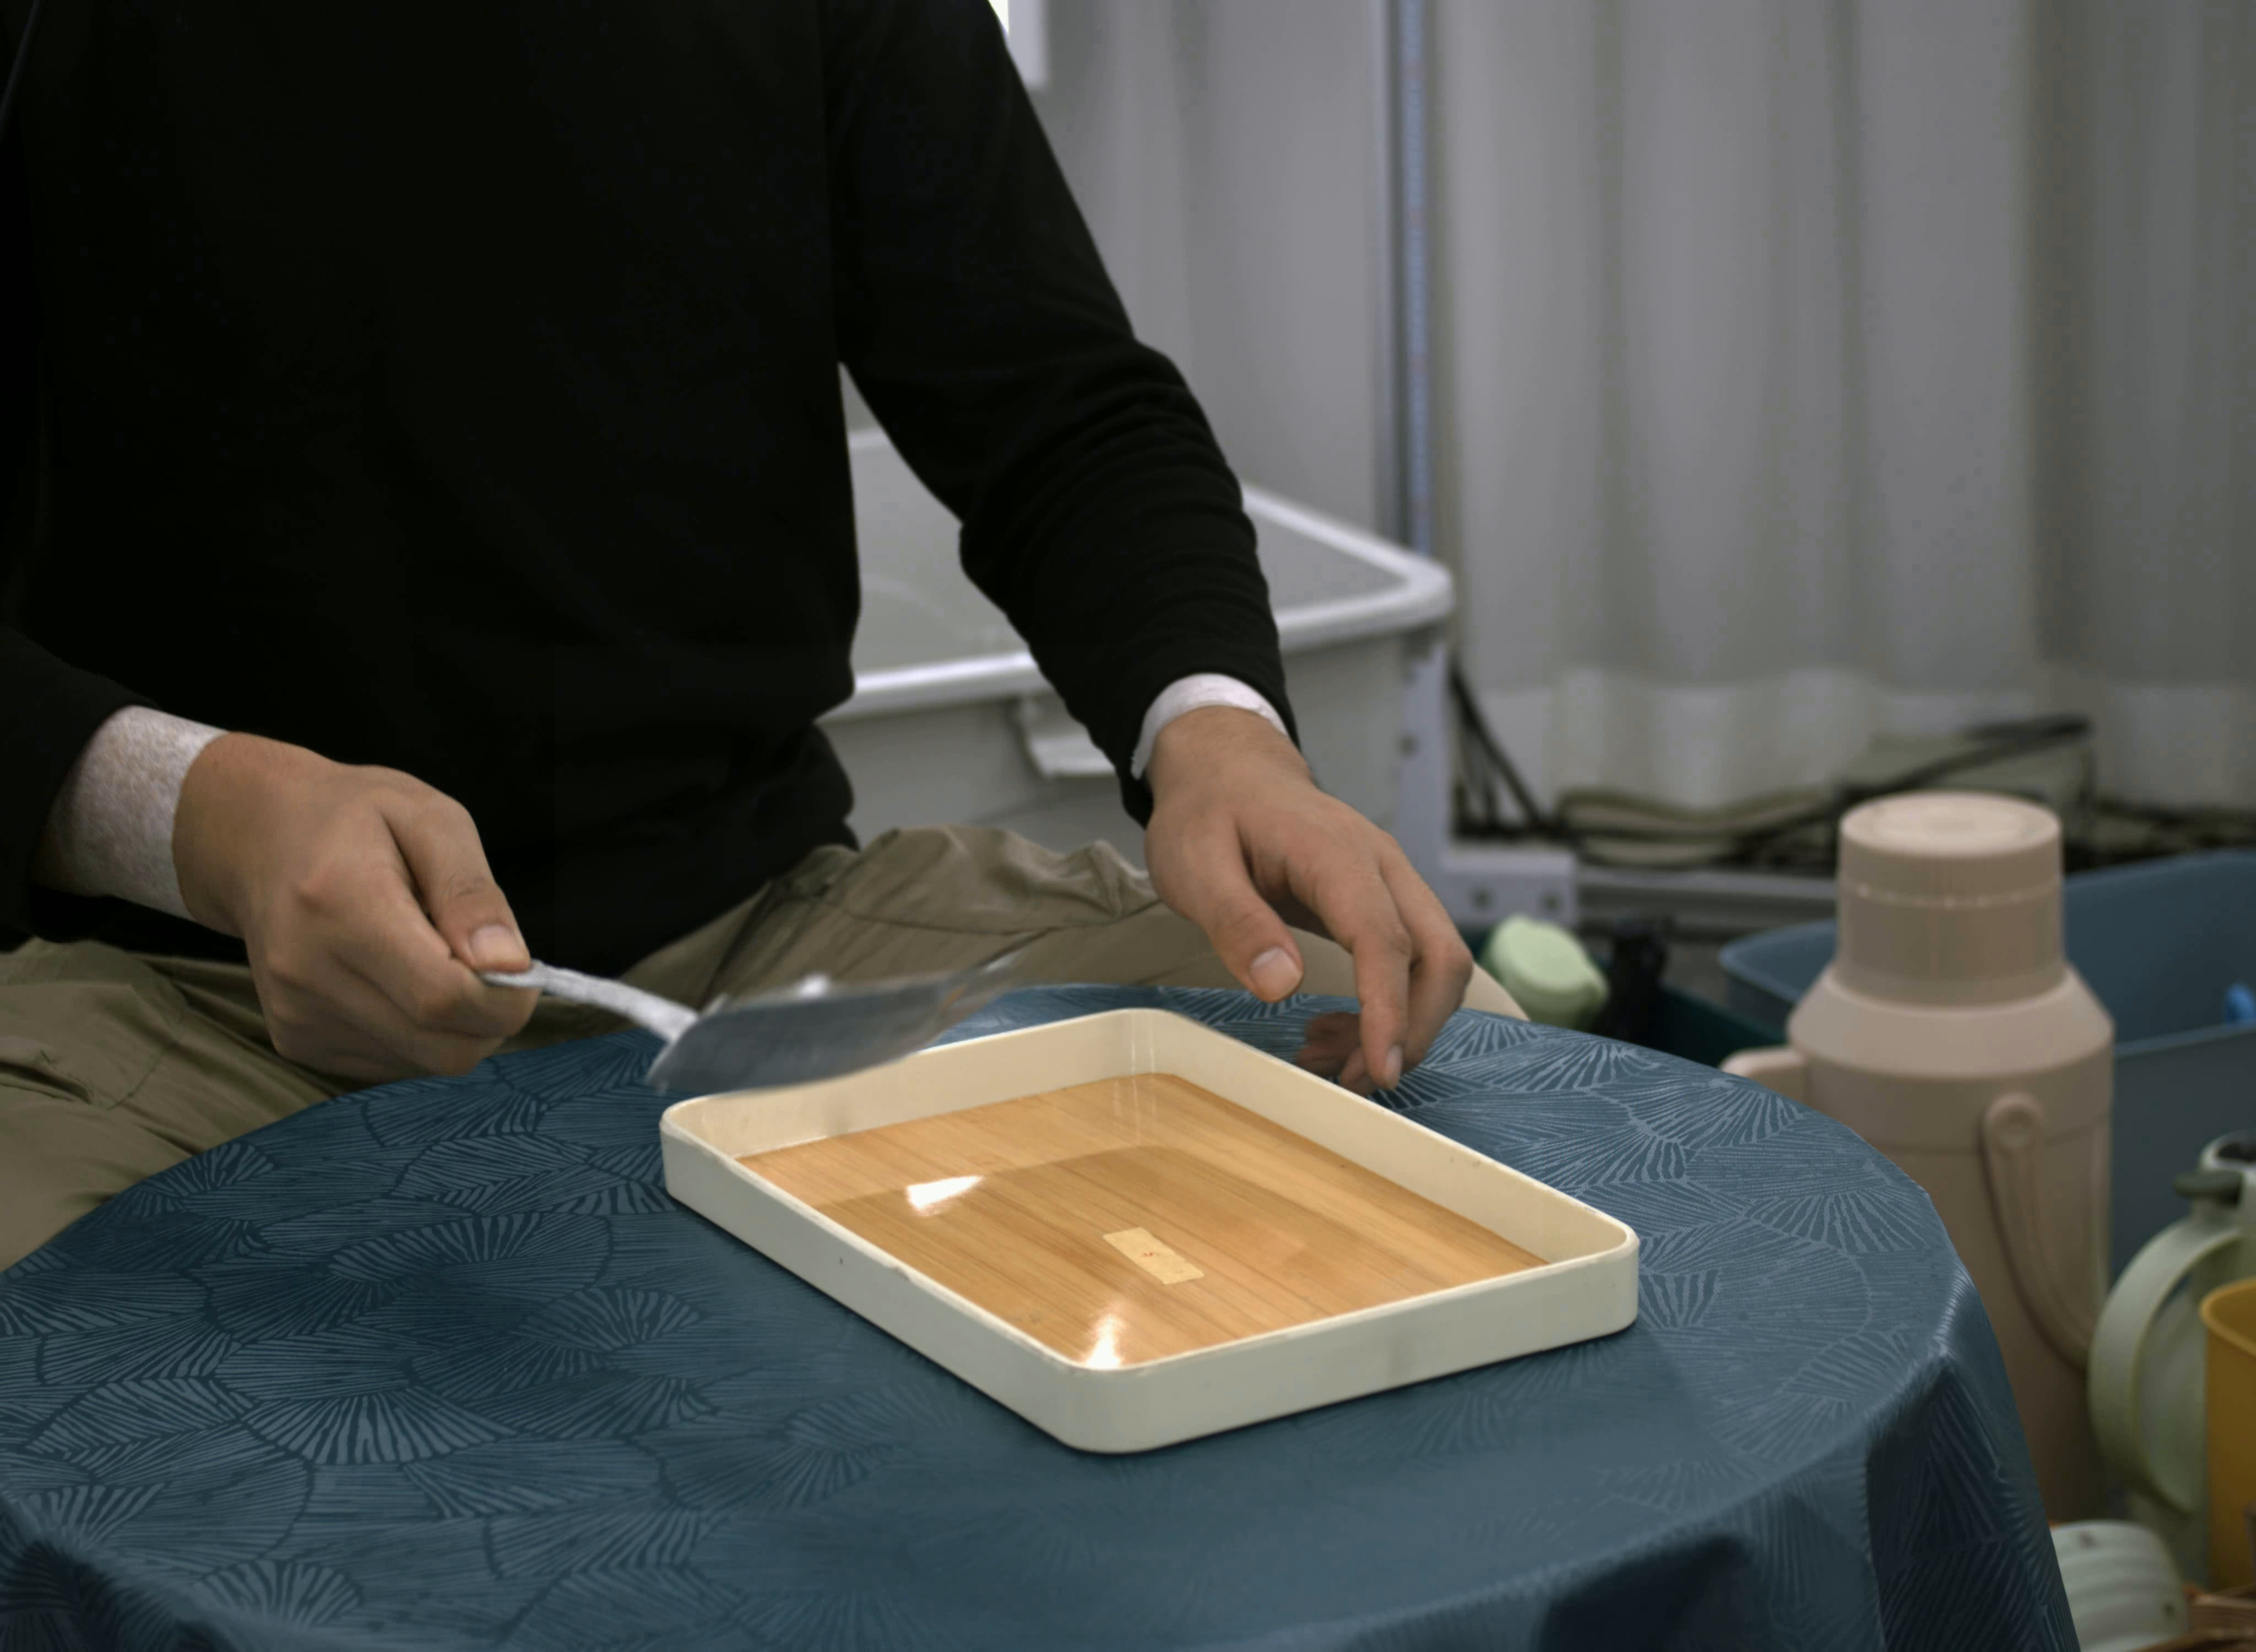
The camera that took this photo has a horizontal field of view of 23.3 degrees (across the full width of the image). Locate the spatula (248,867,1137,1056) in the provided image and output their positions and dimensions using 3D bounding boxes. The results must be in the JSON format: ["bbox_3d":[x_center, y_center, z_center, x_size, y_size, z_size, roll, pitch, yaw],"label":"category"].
[{"bbox_3d":[-0.145,0.042,1.519,0.098,0.045,0.366,15,-11,-40],"label":"spatula"}]

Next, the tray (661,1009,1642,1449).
[{"bbox_3d":[0.001,0.117,1.654,0.191,0.027,0.302,-11,17,-27],"label":"tray"}]
